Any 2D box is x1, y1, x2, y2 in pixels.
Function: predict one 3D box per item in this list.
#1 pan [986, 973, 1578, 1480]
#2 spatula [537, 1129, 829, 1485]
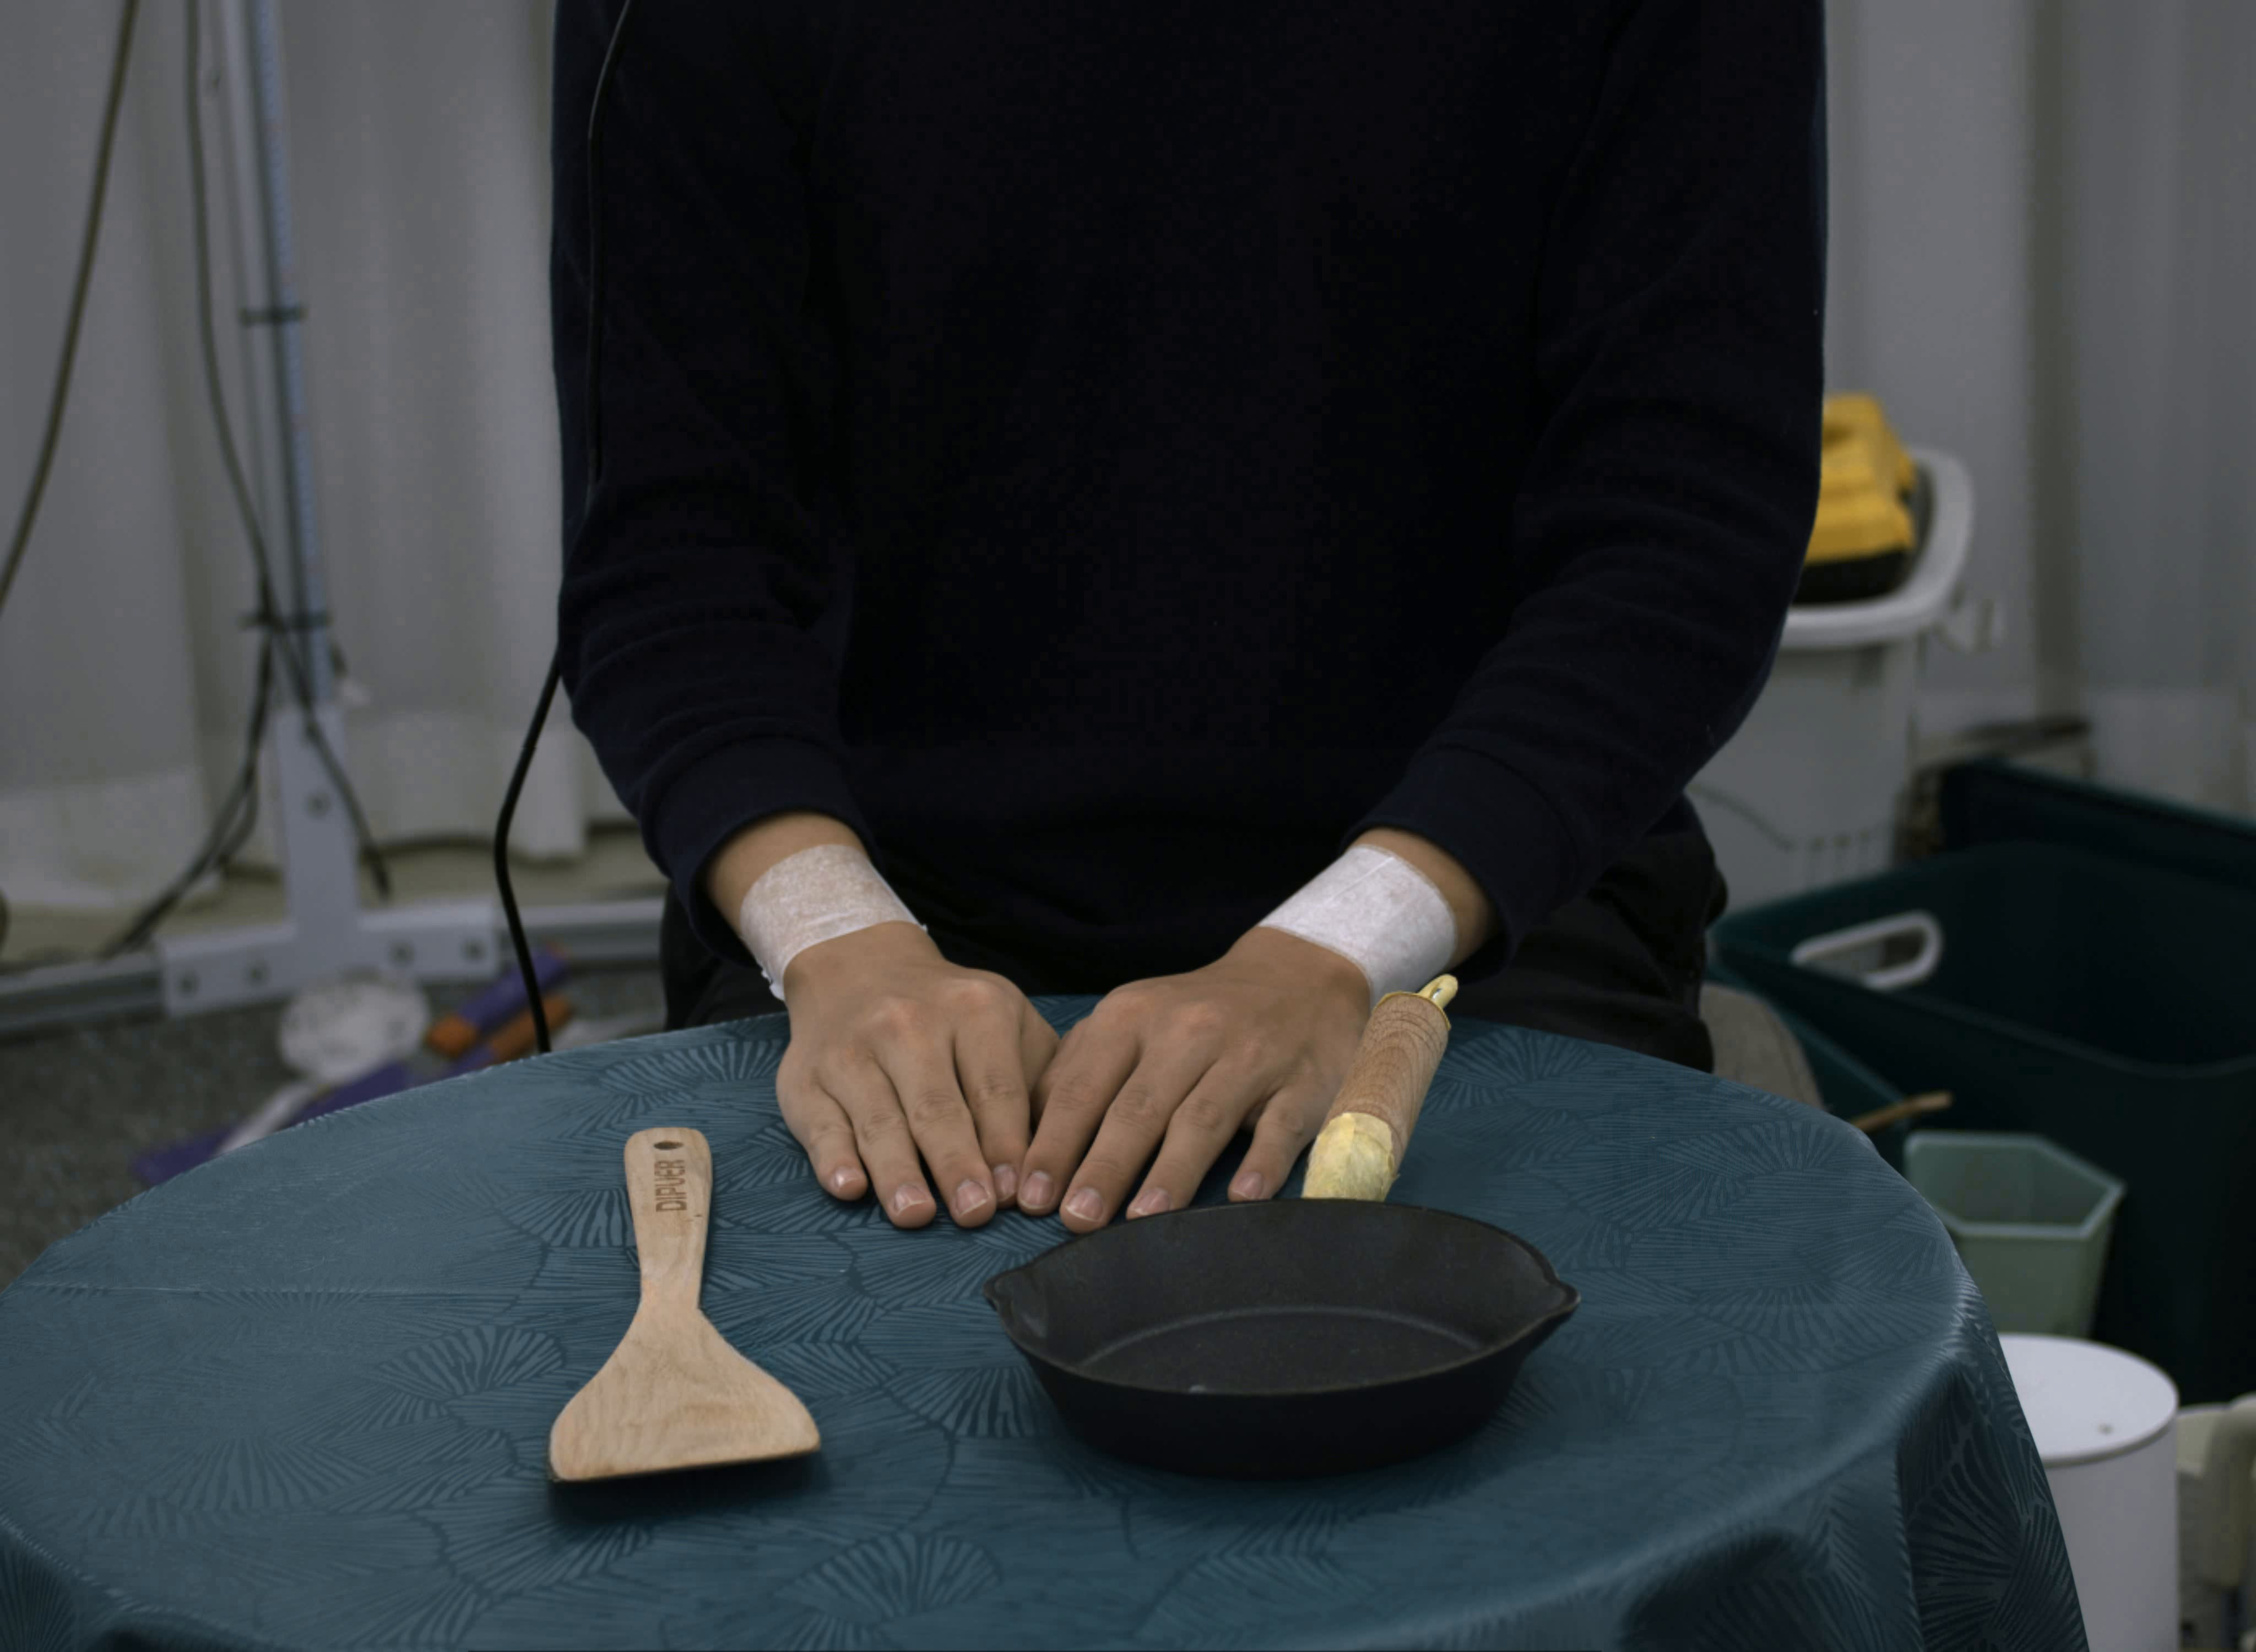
[{"bbox_3d":[0.063,0.114,1.607,0.169,0.049,0.326,1,17,14],"label":"pan"},{"bbox_3d":[-0.134,0.139,1.622,0.079,0.016,0.330,-3,15,-5],"label":"spatula"}]
